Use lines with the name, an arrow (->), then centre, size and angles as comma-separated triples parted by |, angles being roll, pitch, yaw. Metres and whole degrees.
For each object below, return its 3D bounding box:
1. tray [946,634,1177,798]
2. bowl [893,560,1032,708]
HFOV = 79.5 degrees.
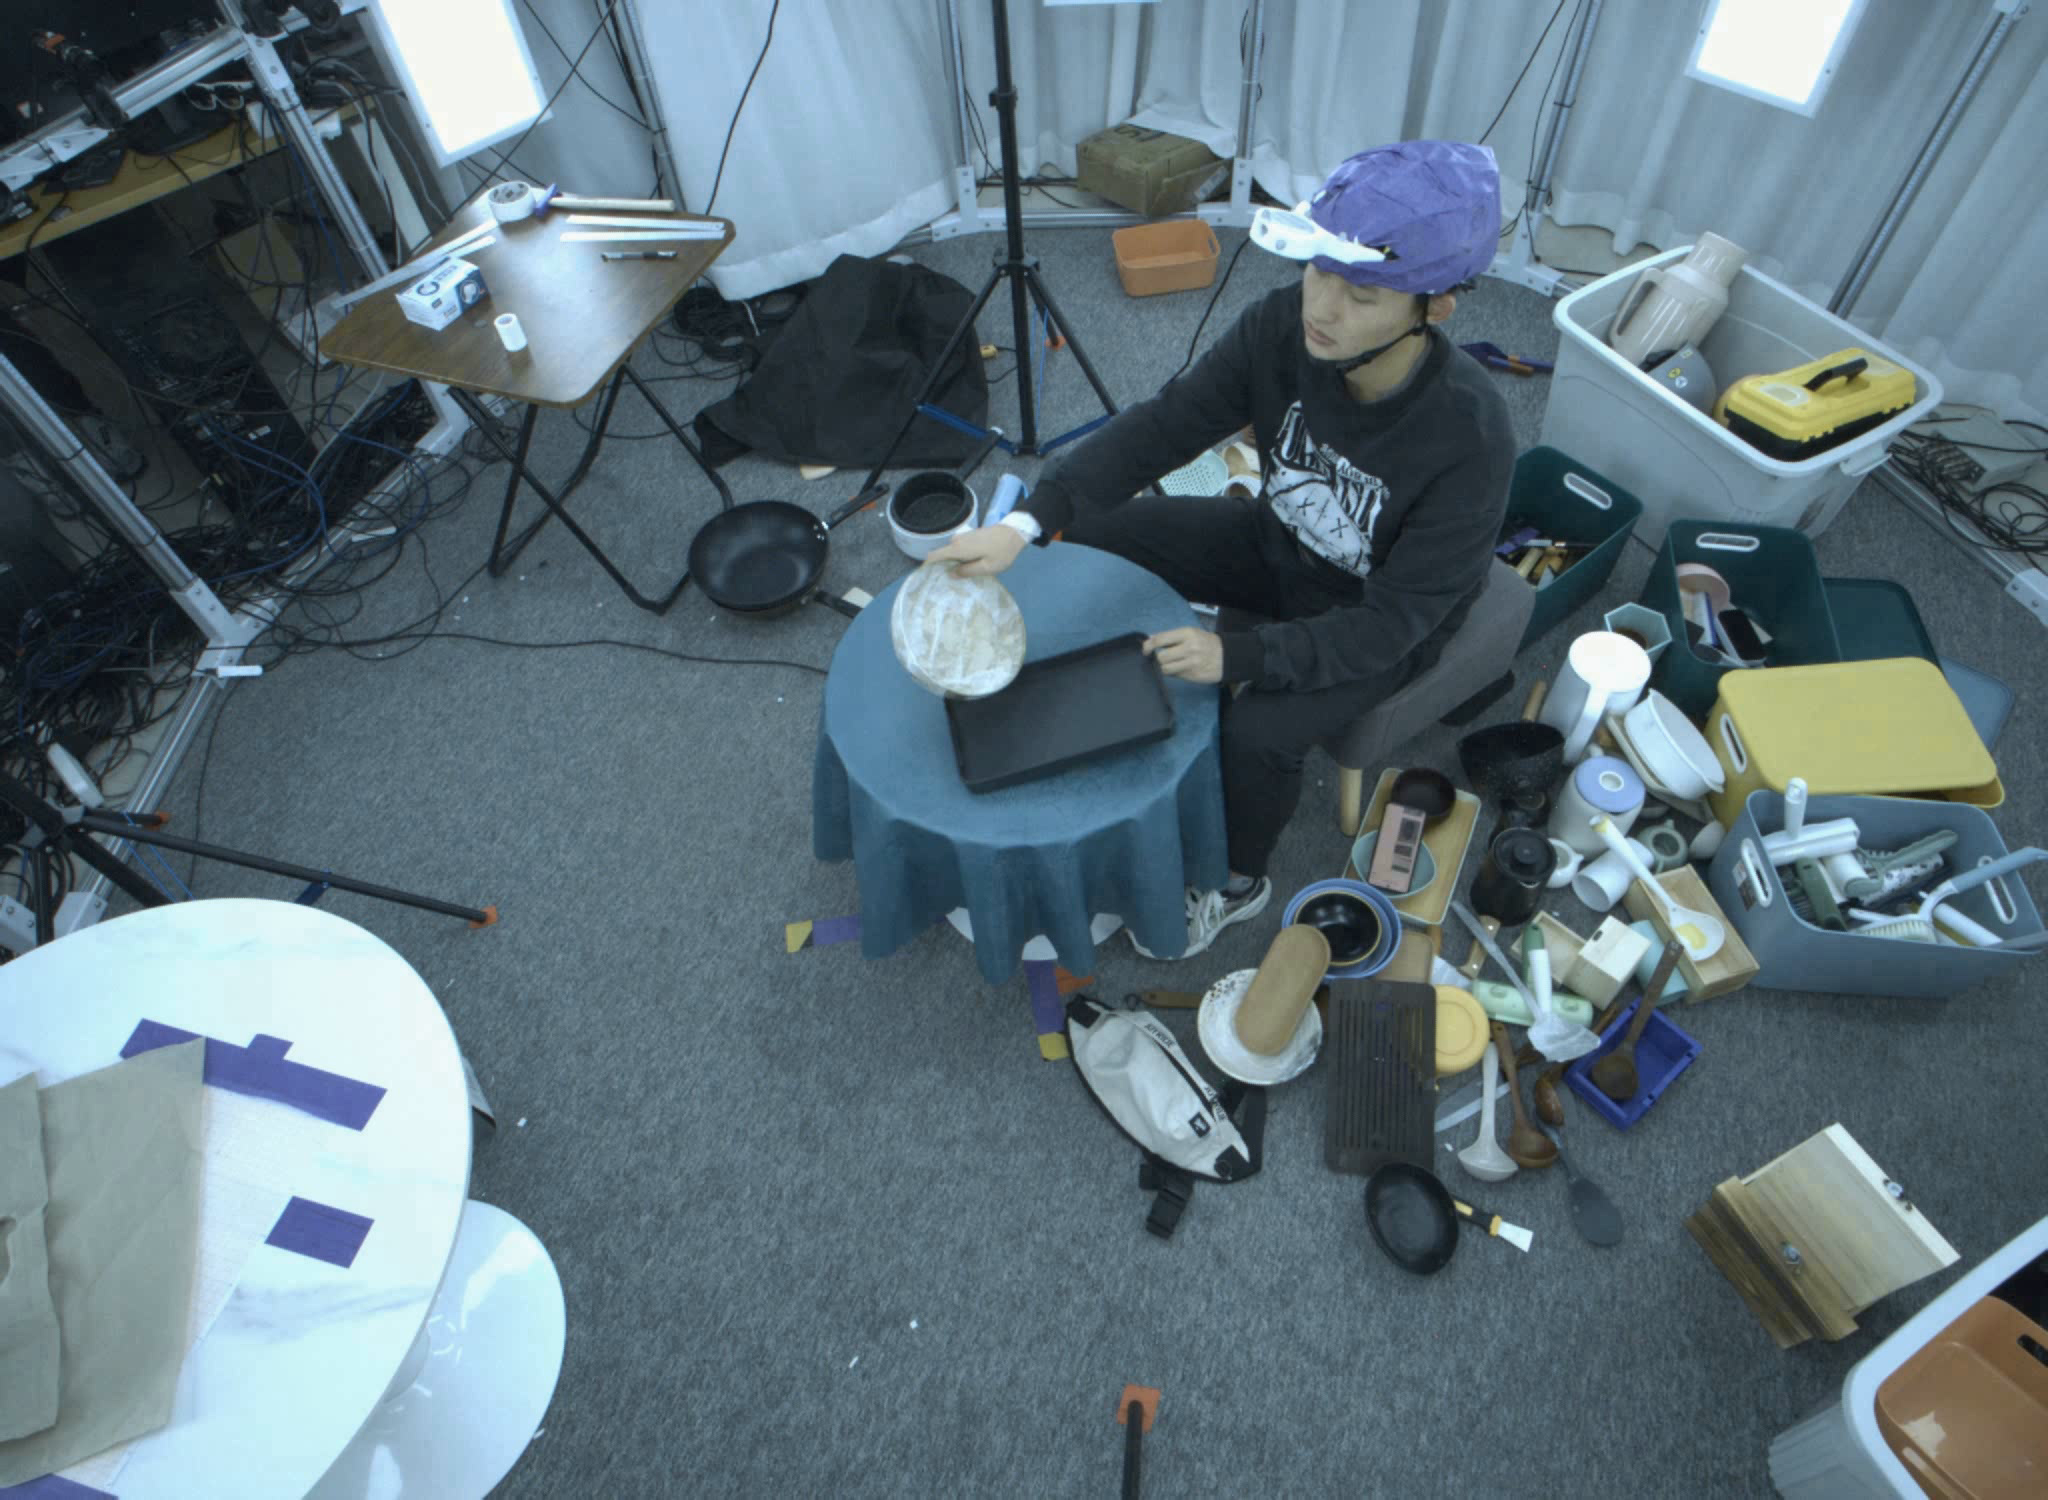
tray -> 0.052, -0.050, 1.780 | 0.317, 0.037, 0.181 | -16, 58, 4
bowl -> -0.099, -0.151, 1.713 | 0.219, 0.093, 0.213 | 12, 69, -33
